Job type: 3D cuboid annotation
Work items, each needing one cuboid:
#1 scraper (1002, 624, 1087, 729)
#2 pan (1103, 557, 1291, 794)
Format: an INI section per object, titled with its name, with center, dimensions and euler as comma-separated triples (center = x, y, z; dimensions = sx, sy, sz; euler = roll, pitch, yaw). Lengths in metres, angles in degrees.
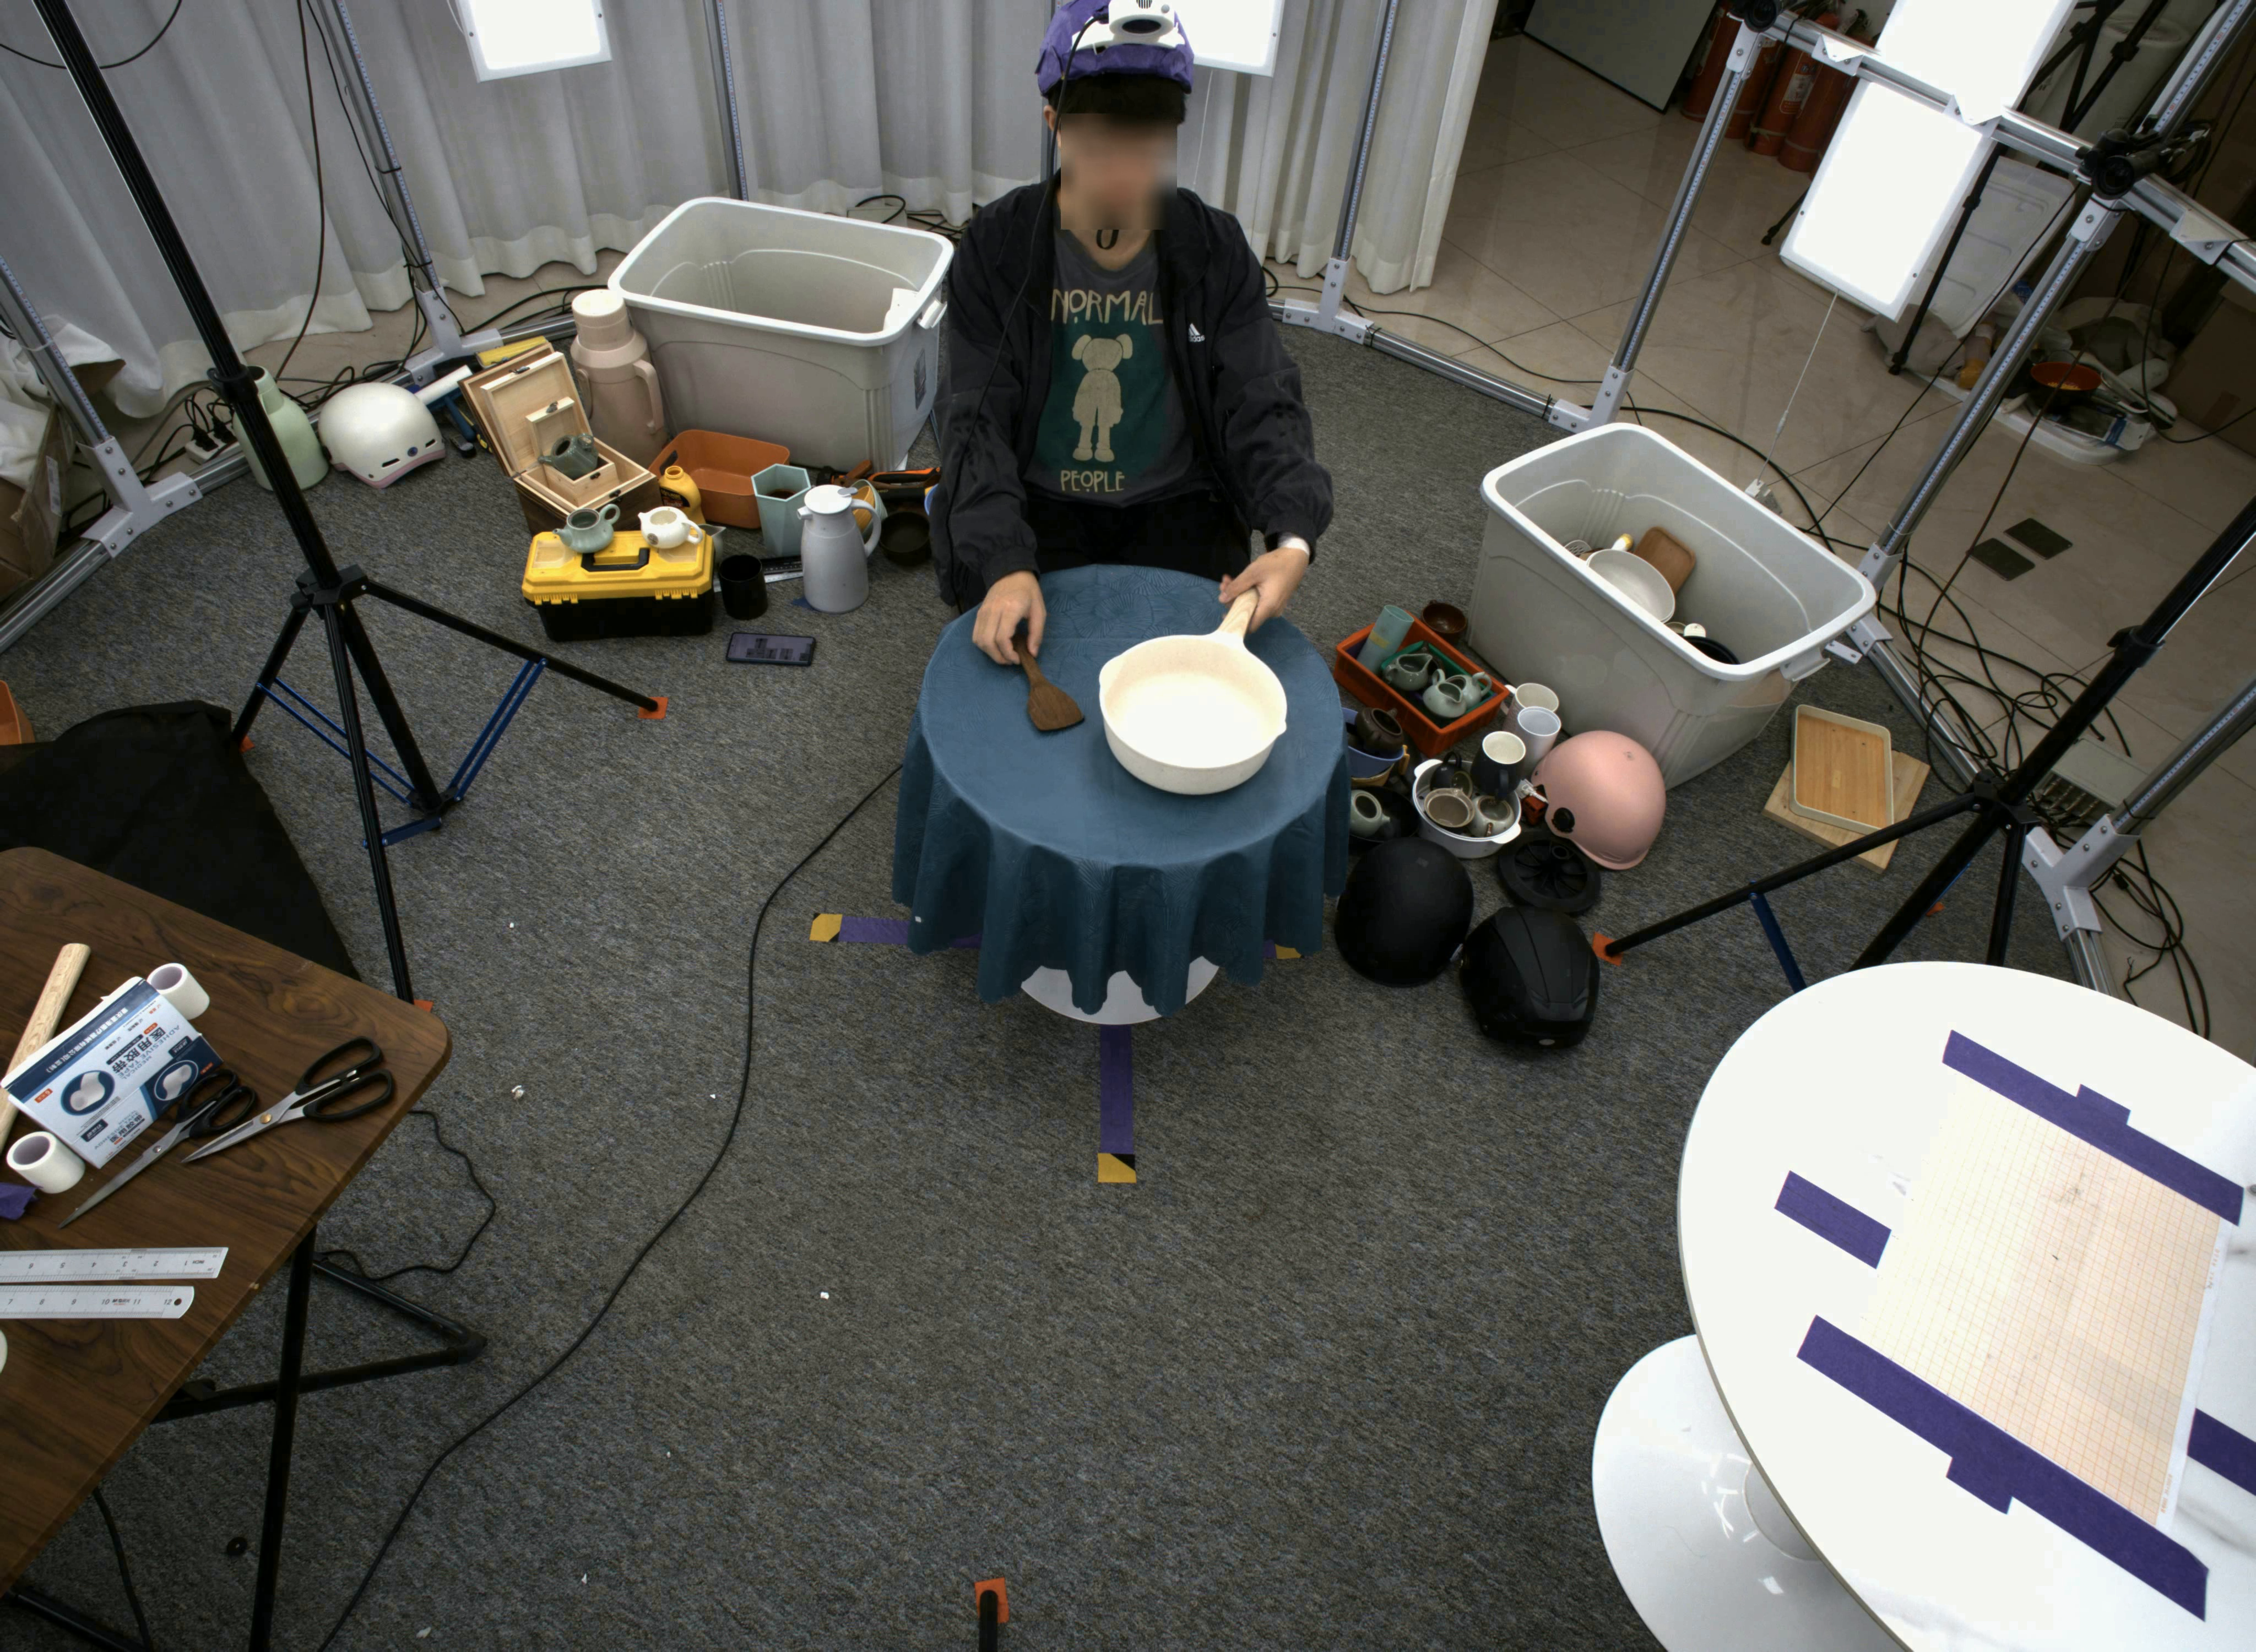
[scraper]
center = -0.130, -0.215, 1.830
dimensions = 0.076, 0.010, 0.216
euler = -13, 54, -23
[pan]
center = 0.126, -0.213, 1.796
dimensions = 0.265, 0.099, 0.443
euler = 18, 50, 14
